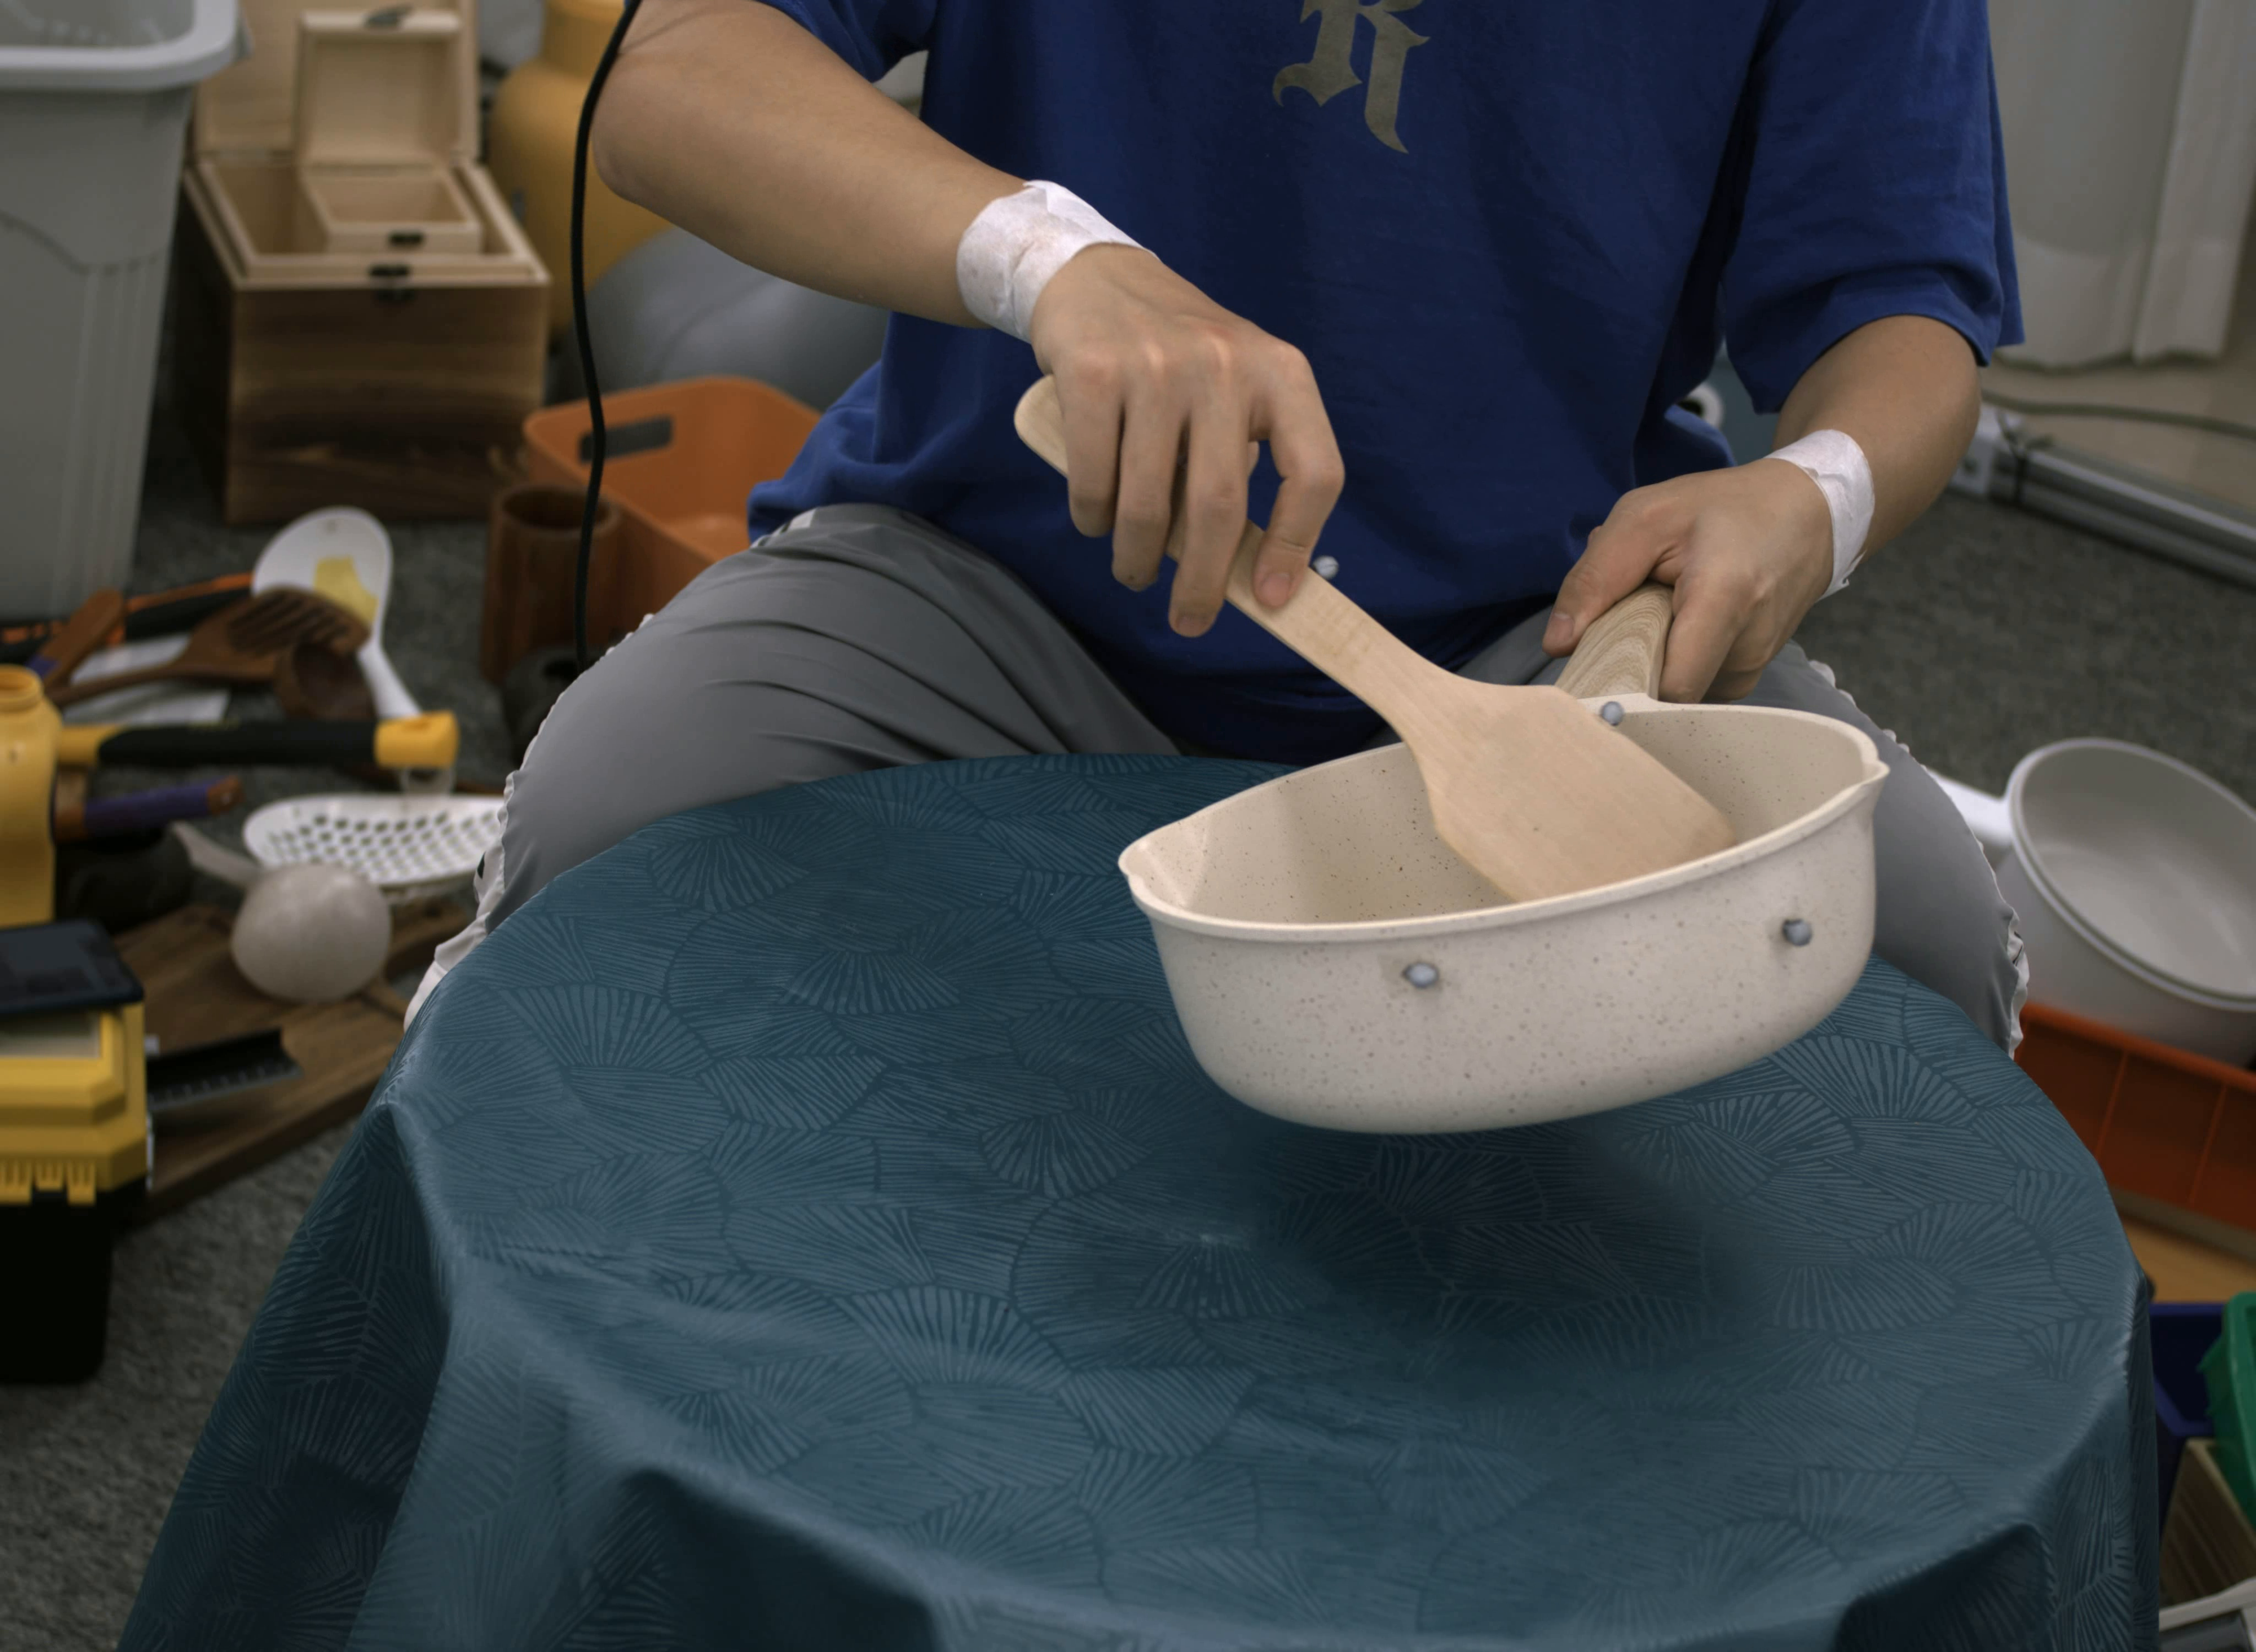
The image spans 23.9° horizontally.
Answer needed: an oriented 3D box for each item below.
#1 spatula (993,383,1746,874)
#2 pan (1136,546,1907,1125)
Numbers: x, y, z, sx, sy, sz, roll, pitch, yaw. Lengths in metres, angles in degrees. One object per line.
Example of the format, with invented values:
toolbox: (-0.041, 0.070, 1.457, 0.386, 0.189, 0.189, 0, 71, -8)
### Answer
spatula: (0.076, -0.069, 1.839, 0.294, 0.072, 0.010, 34, -8, 11)
pan: (0.159, -0.001, 1.851, 0.263, 0.102, 0.435, -8, 13, 19)
